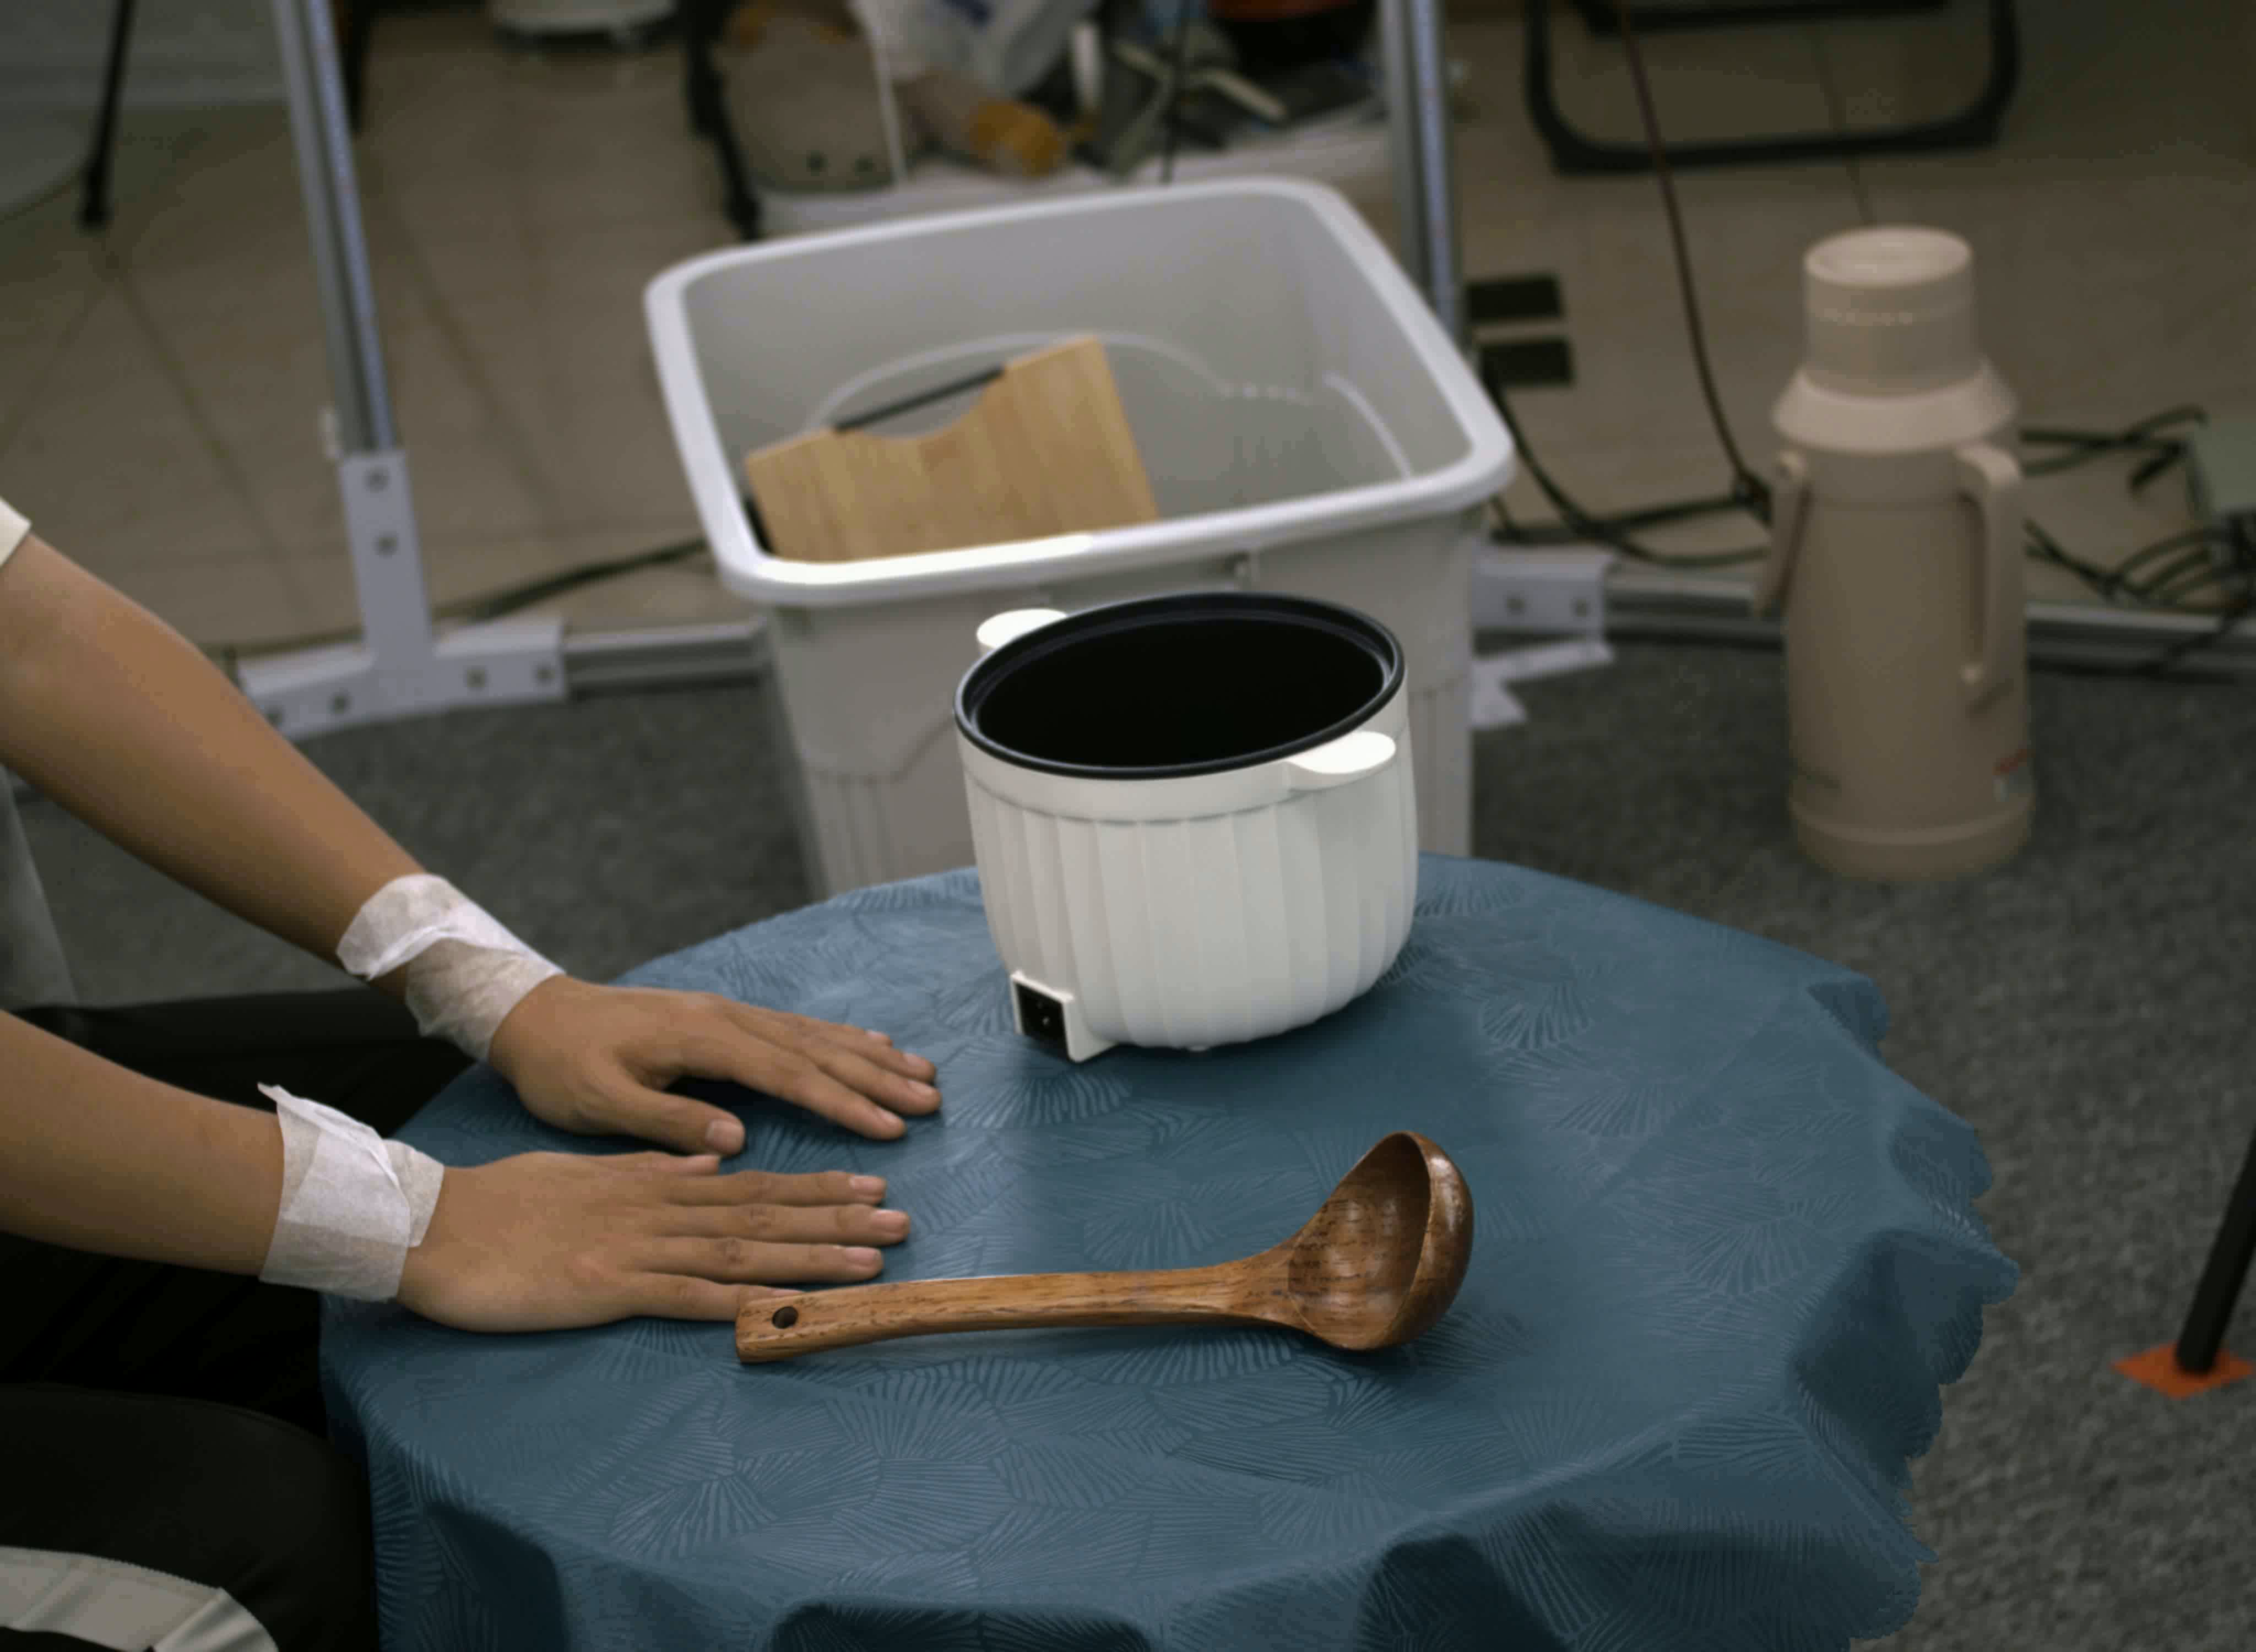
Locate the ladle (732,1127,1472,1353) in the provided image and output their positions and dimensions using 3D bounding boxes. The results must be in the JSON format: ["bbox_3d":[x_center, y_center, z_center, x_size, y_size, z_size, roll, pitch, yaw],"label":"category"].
[{"bbox_3d":[-0.013,0.154,2.031,0.273,0.078,0.080,-2,50,7],"label":"ladle"}]

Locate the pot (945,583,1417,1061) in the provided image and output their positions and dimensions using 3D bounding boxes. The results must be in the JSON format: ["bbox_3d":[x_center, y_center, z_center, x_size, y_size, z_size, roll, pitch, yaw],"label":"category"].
[{"bbox_3d":[0.030,-0.002,2.279,0.189,0.145,0.238,-28,34,-31],"label":"pot"}]
